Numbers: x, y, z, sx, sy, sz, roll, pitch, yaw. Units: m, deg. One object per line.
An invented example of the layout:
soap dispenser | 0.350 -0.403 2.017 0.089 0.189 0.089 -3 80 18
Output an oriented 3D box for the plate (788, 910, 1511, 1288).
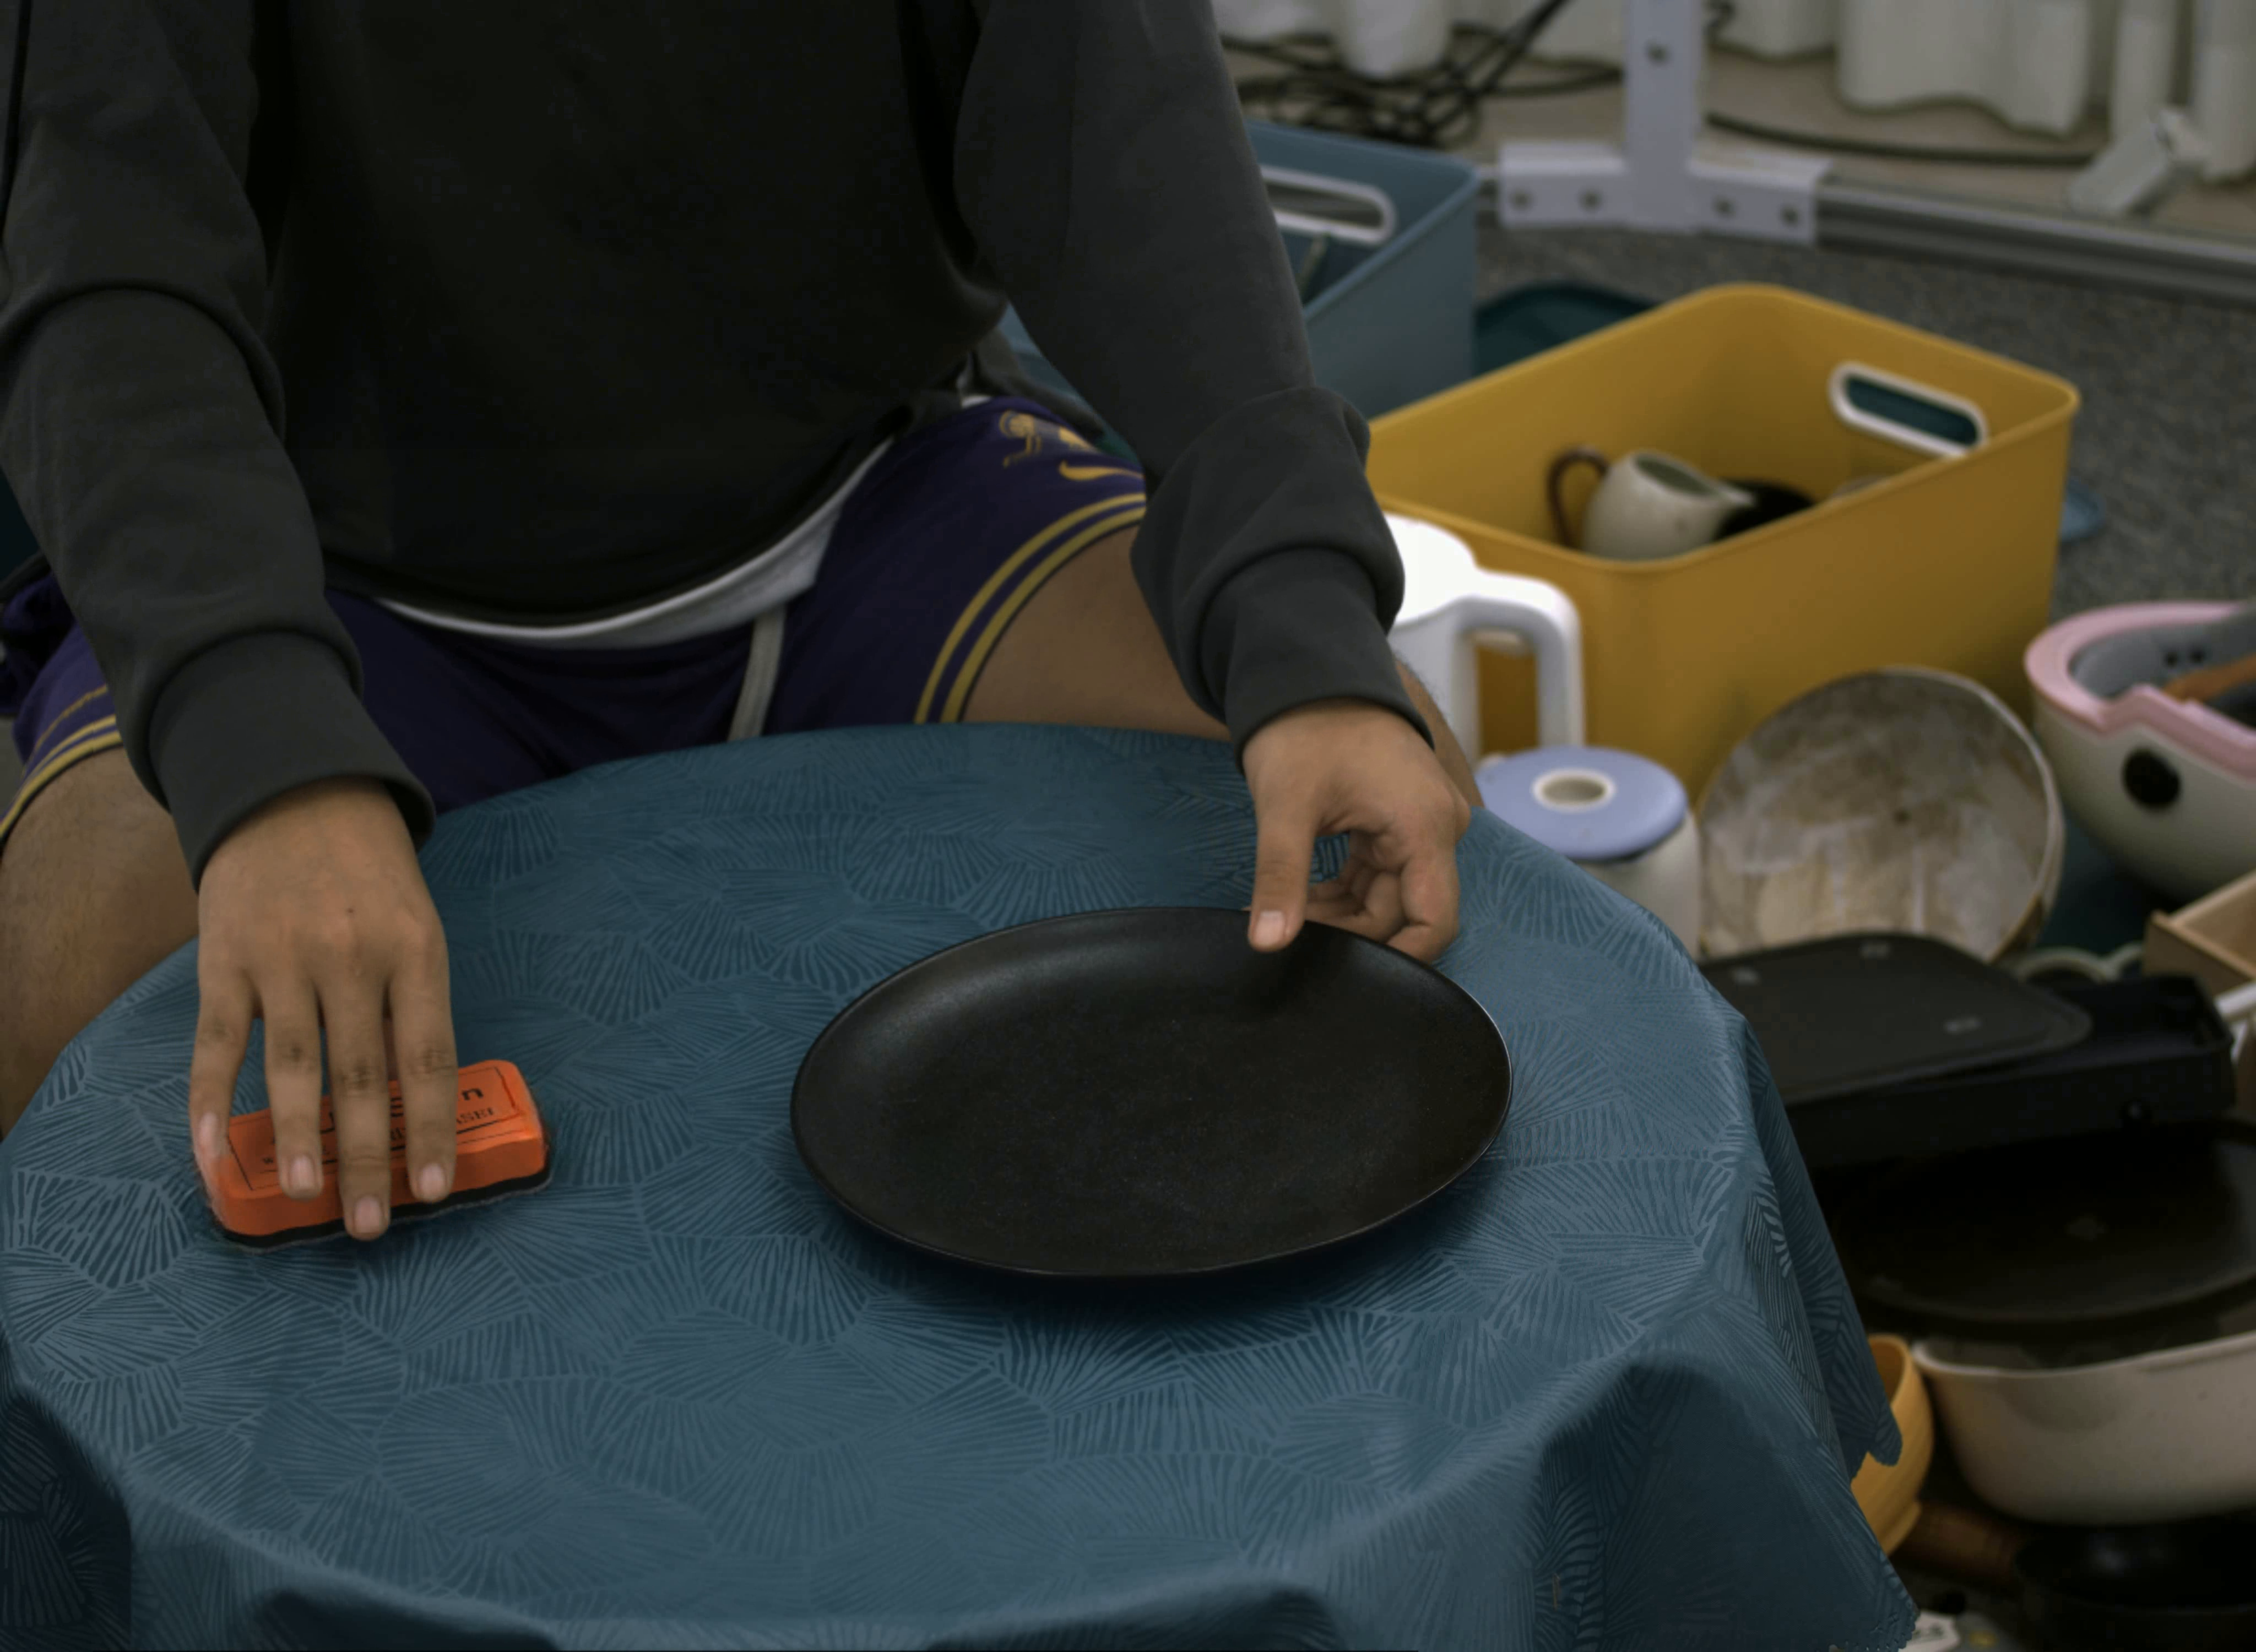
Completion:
plate | 0.007 0.095 1.888 0.243 0.023 0.248 -2 28 2

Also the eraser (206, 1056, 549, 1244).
eraser | -0.251 0.109 1.880 0.108 0.022 0.059 -11 30 -18
